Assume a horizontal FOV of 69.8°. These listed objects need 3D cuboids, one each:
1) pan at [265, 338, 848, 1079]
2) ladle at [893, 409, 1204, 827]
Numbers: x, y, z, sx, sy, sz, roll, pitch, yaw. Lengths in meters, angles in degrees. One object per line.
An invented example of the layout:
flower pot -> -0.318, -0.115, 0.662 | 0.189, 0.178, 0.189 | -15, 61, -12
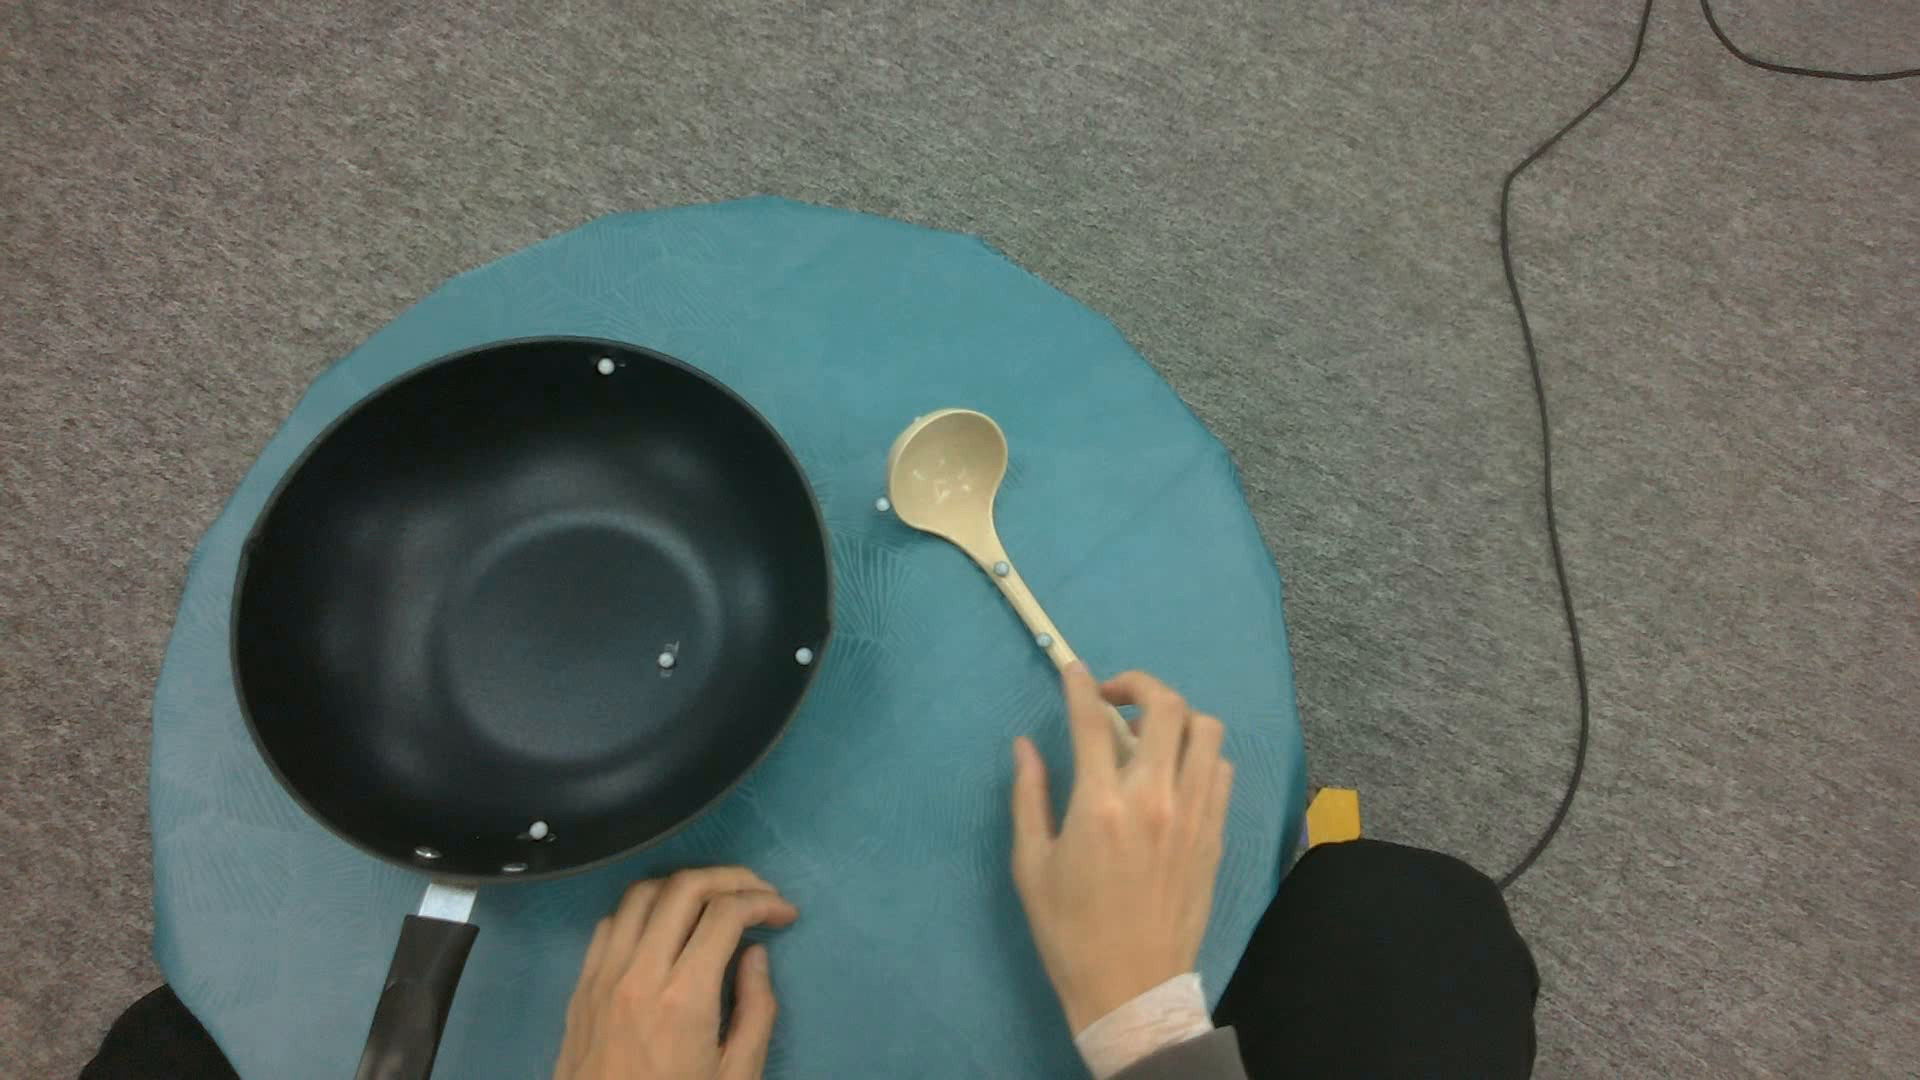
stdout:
pan -> -0.214, 0.121, 0.678 | 0.288, 0.086, 0.465 | 9, 68, 2
ladle -> 0.054, 0.037, 0.725 | 0.072, 0.072, 0.255 | -31, 70, -19
